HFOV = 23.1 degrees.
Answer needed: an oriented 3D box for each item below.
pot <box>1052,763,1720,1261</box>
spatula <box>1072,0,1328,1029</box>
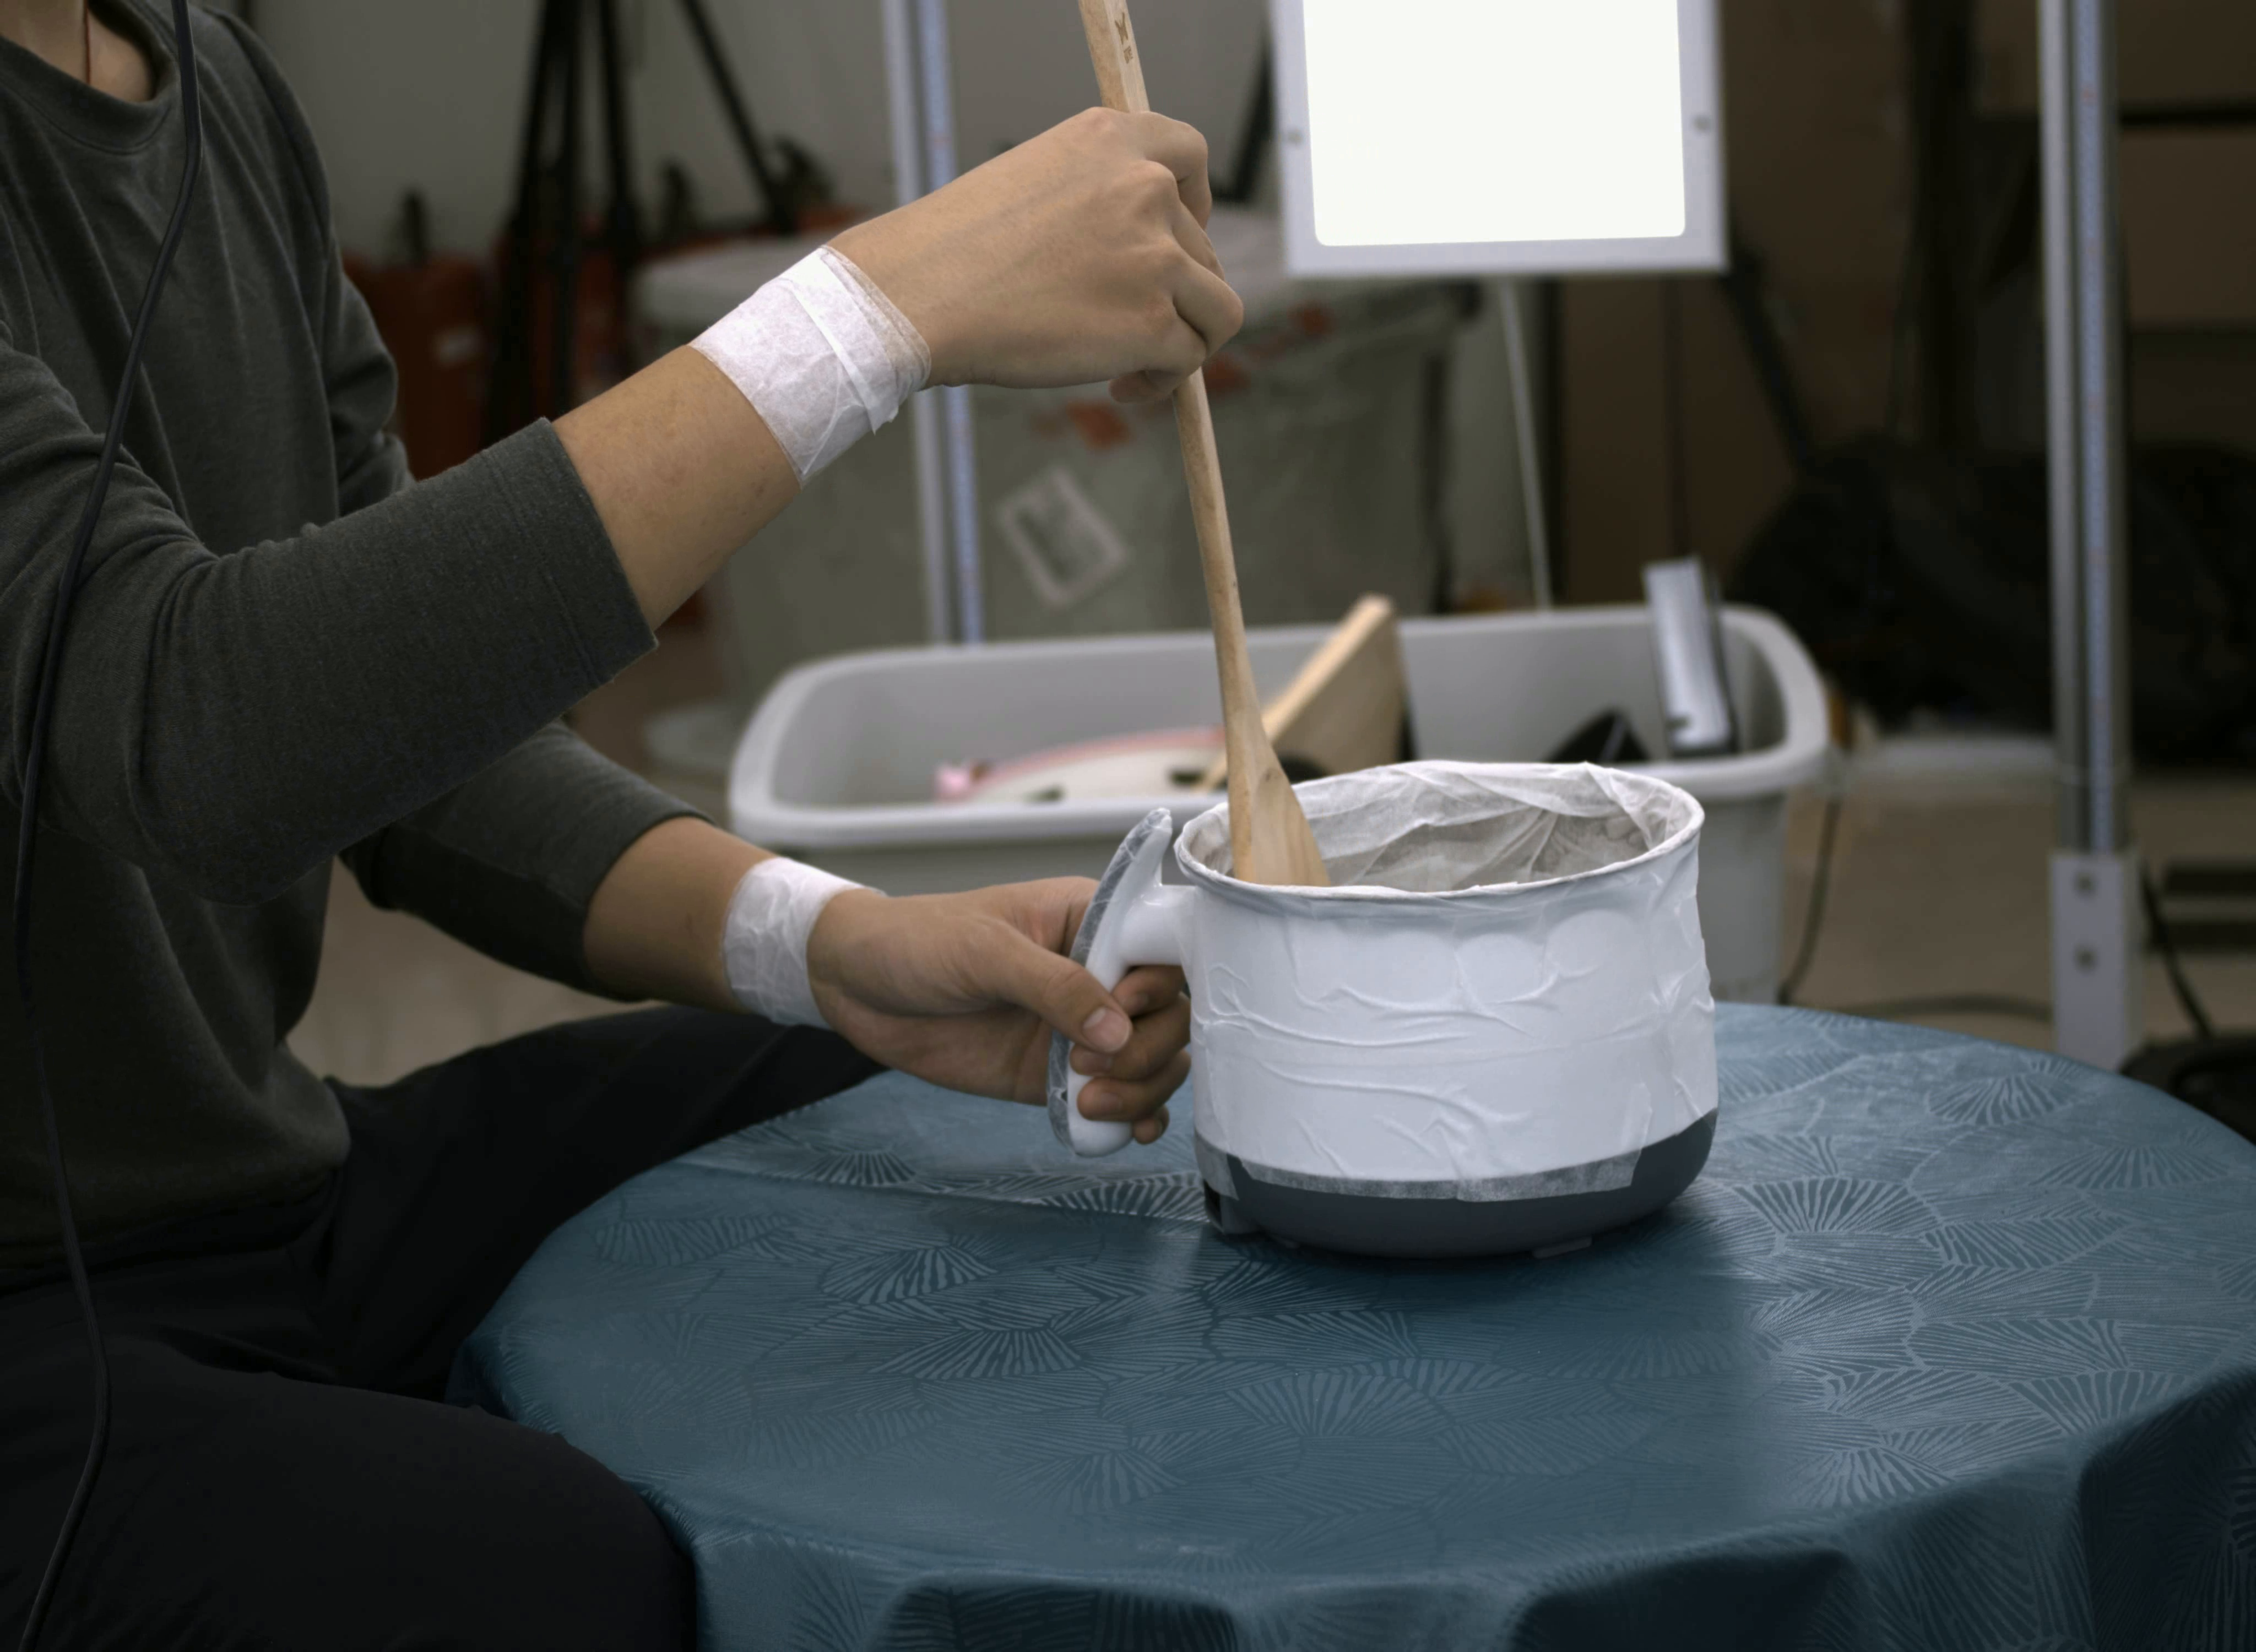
[{"bbox_3d":[0.083,0.062,1.853,0.237,0.137,0.175,0,14,21],"label":"pot"},{"bbox_3d":[0.024,-0.109,1.788,0.018,0.391,0.094,-7,18,14],"label":"spatula"}]
